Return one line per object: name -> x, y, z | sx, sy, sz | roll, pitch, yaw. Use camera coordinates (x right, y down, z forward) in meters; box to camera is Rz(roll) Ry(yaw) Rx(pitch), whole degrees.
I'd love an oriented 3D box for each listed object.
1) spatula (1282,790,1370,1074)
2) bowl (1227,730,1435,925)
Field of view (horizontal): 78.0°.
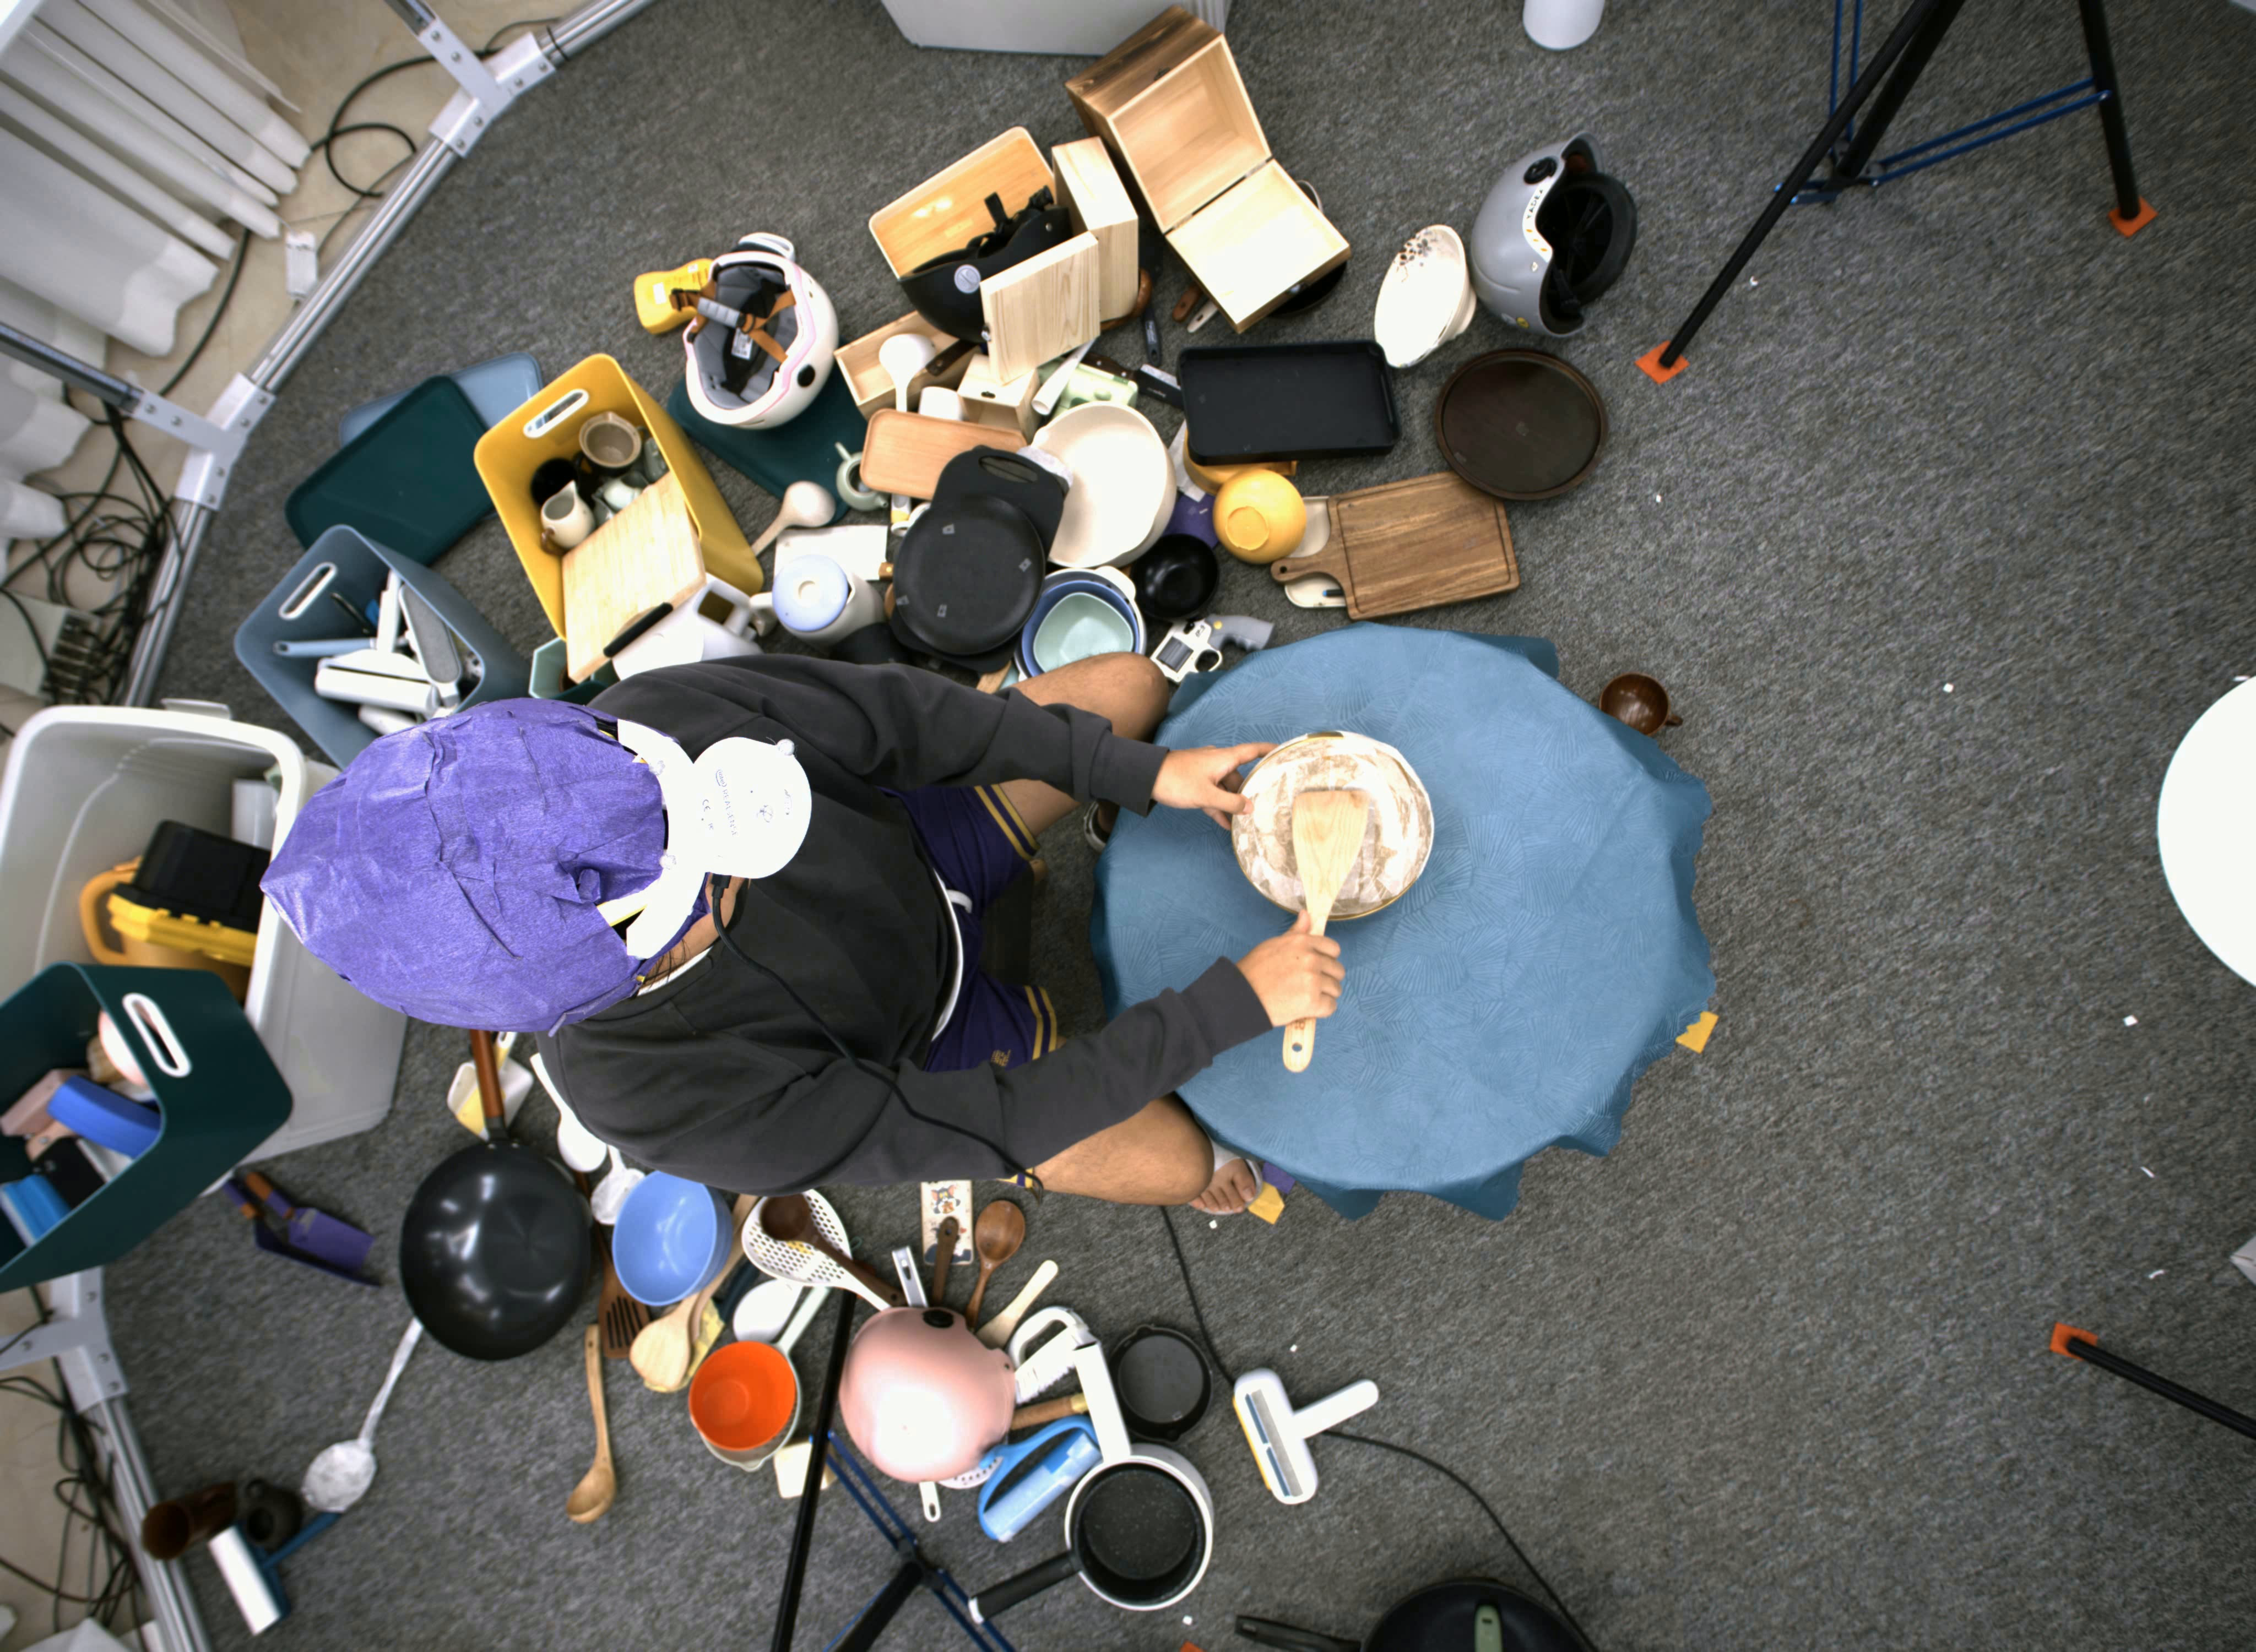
spatula -> 0.183, 0.093, 1.359 | 0.080, 0.017, 0.319 | 7, 57, 10
bowl -> 0.205, -0.012, 1.416 | 0.215, 0.092, 0.219 | 3, 115, 7
